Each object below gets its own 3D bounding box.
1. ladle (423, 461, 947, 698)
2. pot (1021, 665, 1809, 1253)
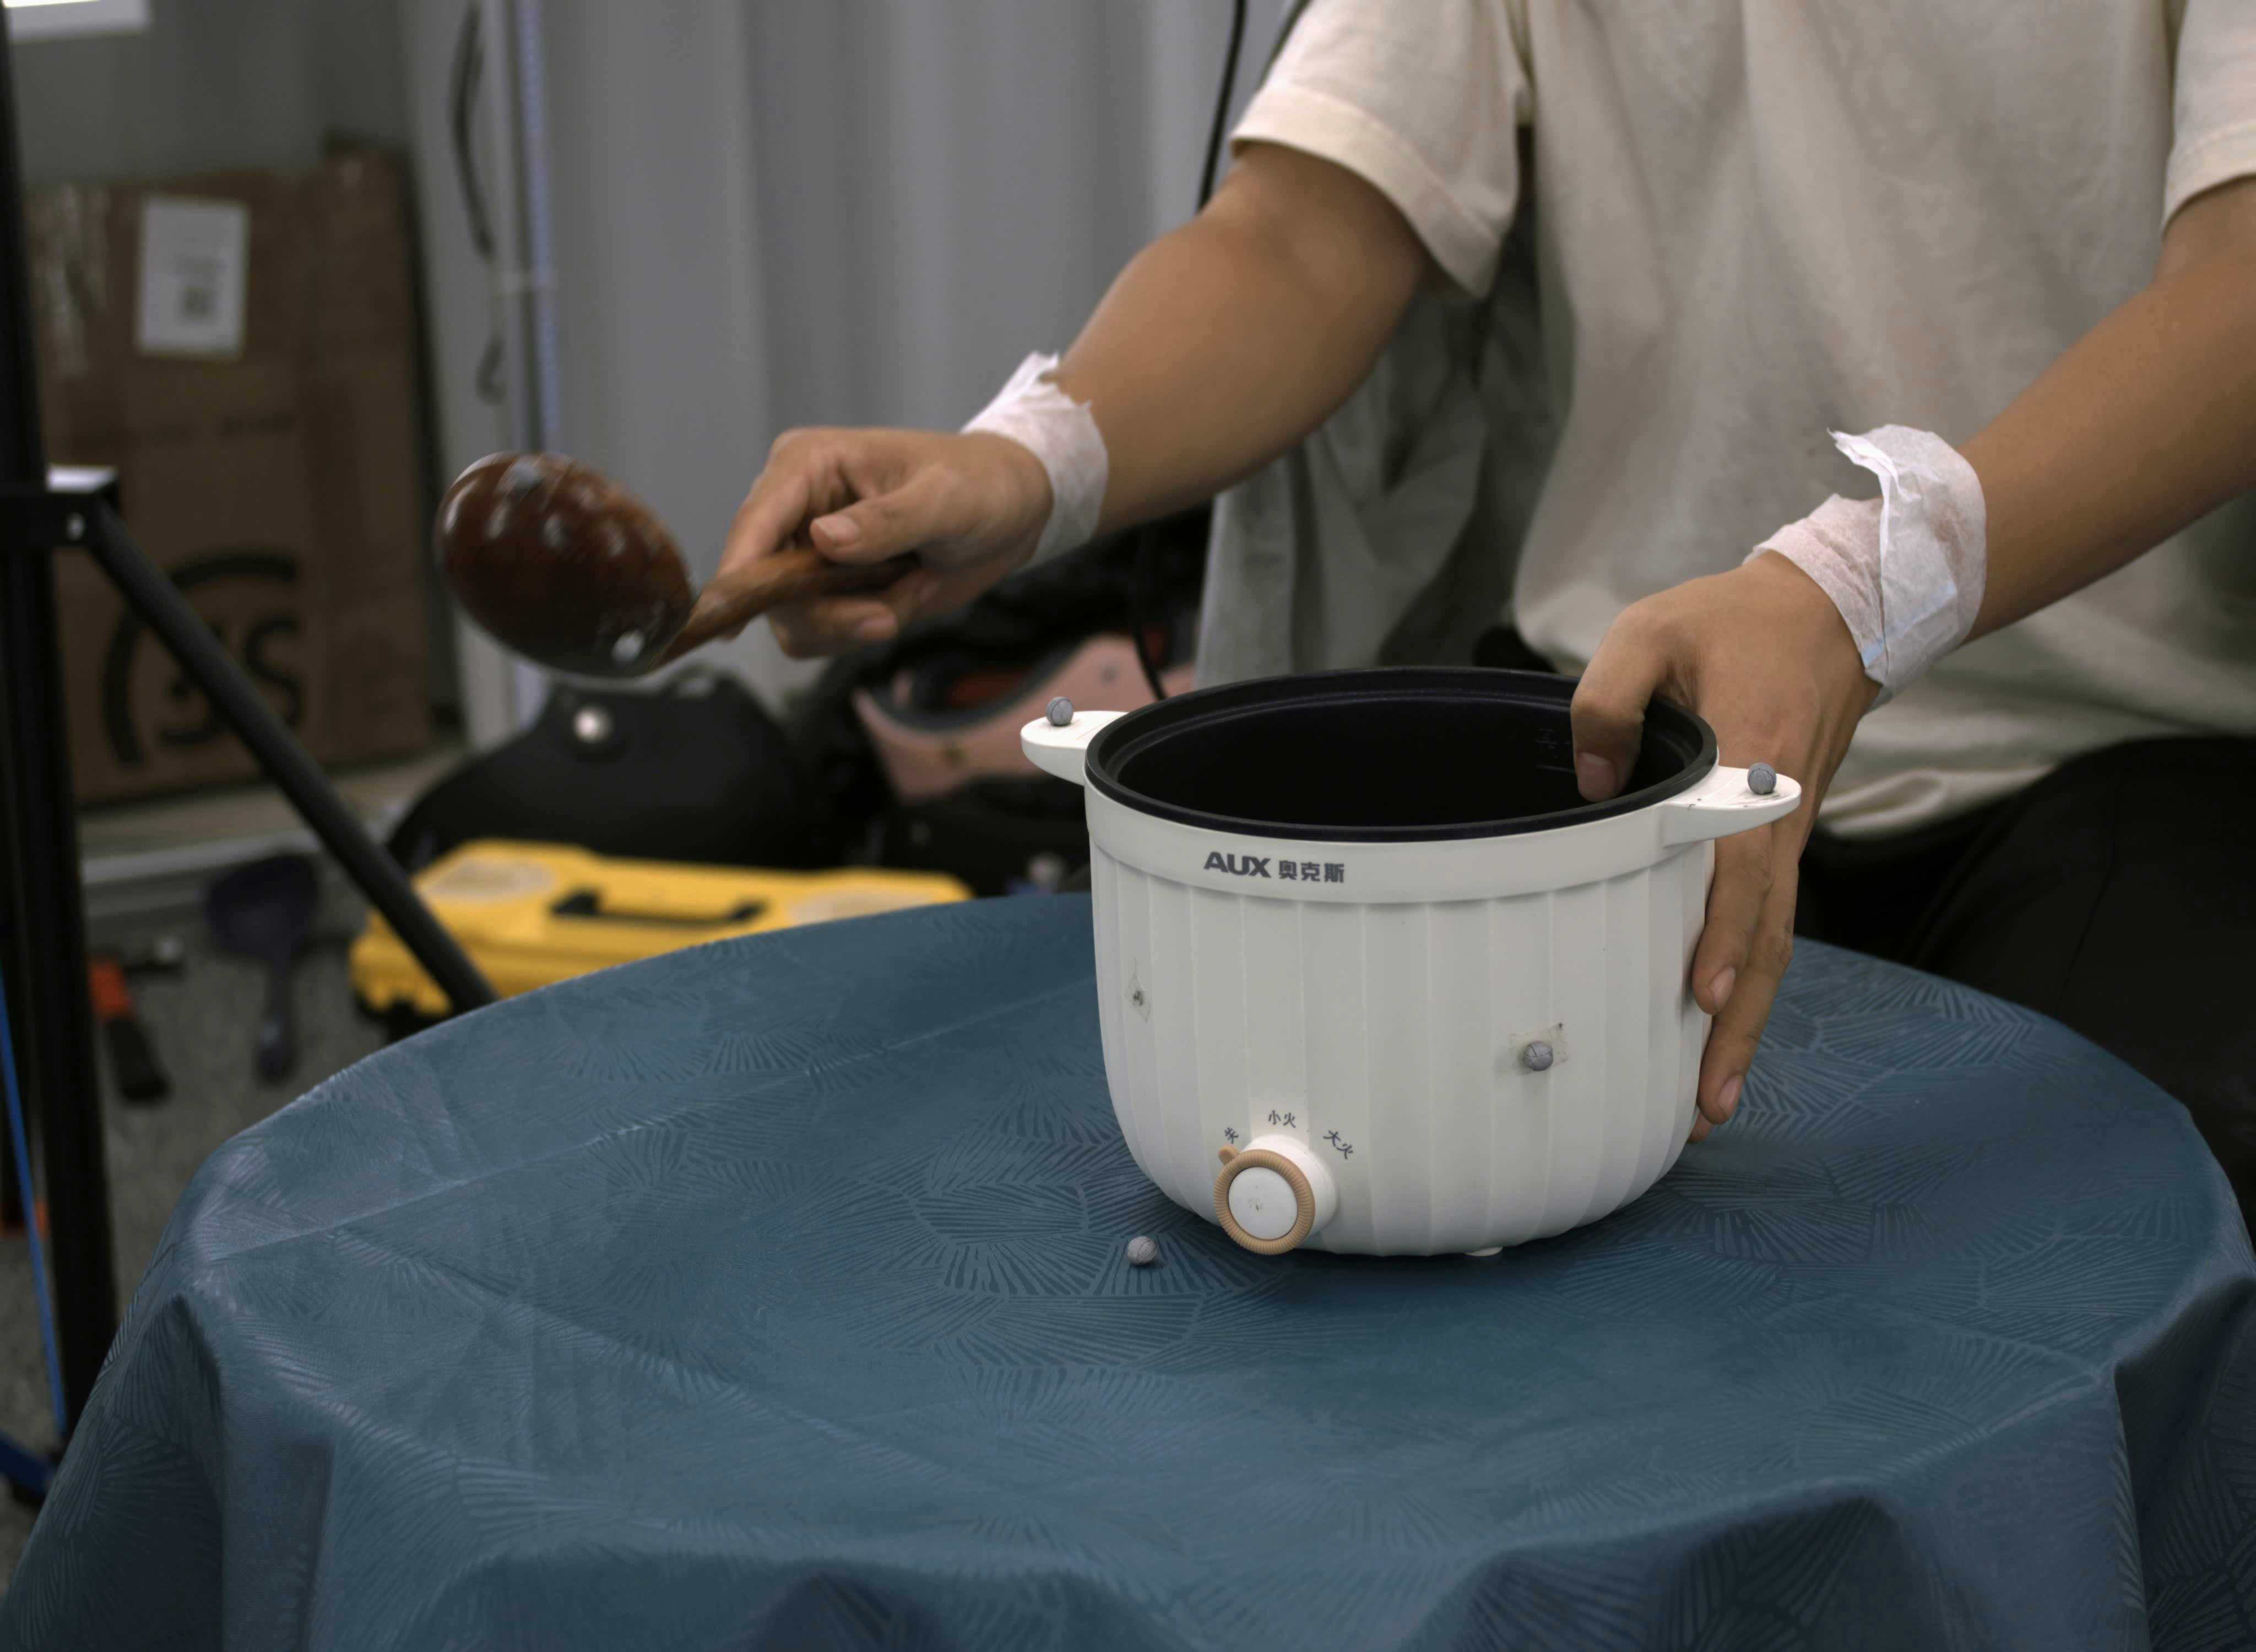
[{"bbox_3d":[-0.127,-0.090,1.672,0.083,0.077,0.269,15,17,23],"label":"ladle"},{"bbox_3d":[0.079,0.041,1.524,0.244,0.143,0.187,4,13,27],"label":"pot"}]
